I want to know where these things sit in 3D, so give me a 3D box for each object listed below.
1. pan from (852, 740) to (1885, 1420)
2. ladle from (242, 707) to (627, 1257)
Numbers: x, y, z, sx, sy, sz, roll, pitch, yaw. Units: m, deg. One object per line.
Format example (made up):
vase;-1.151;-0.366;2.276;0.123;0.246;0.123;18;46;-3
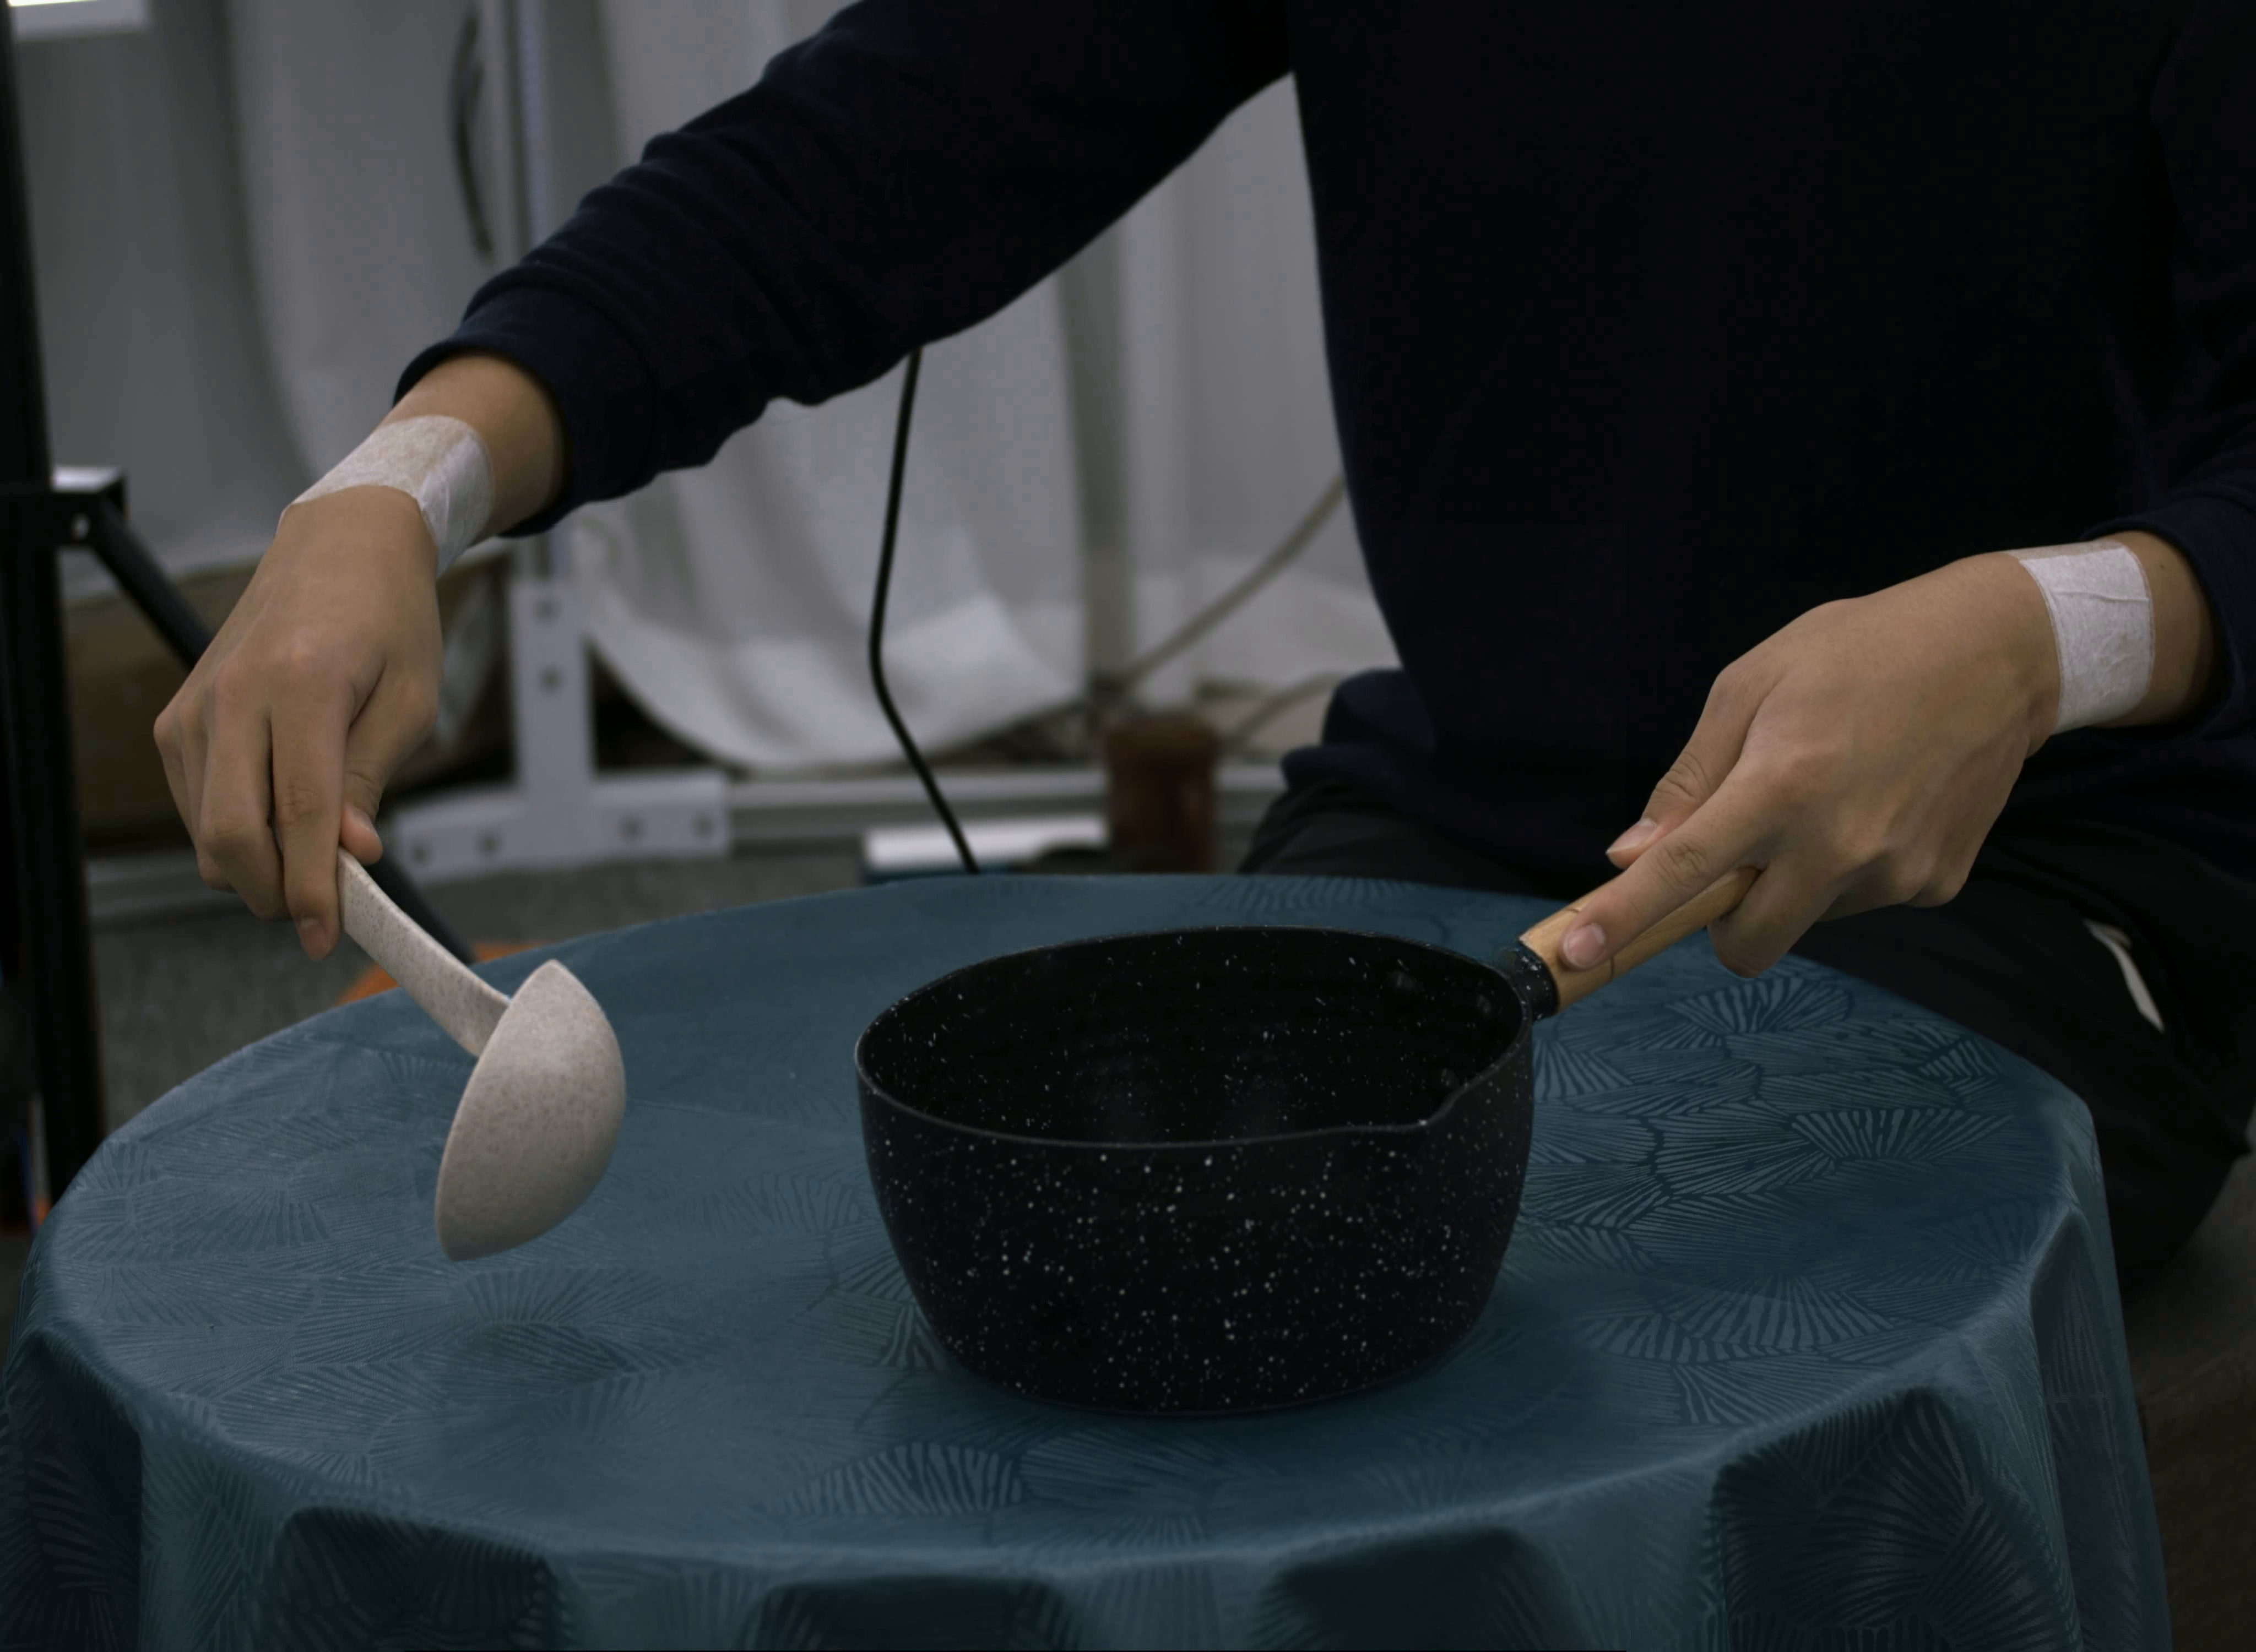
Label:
pan;0.082;0.066;1.481;0.335;0.108;0.212;-17;20;-33
ladle;-0.227;0.030;1.547;0.068;0.089;0.281;-6;28;-33
